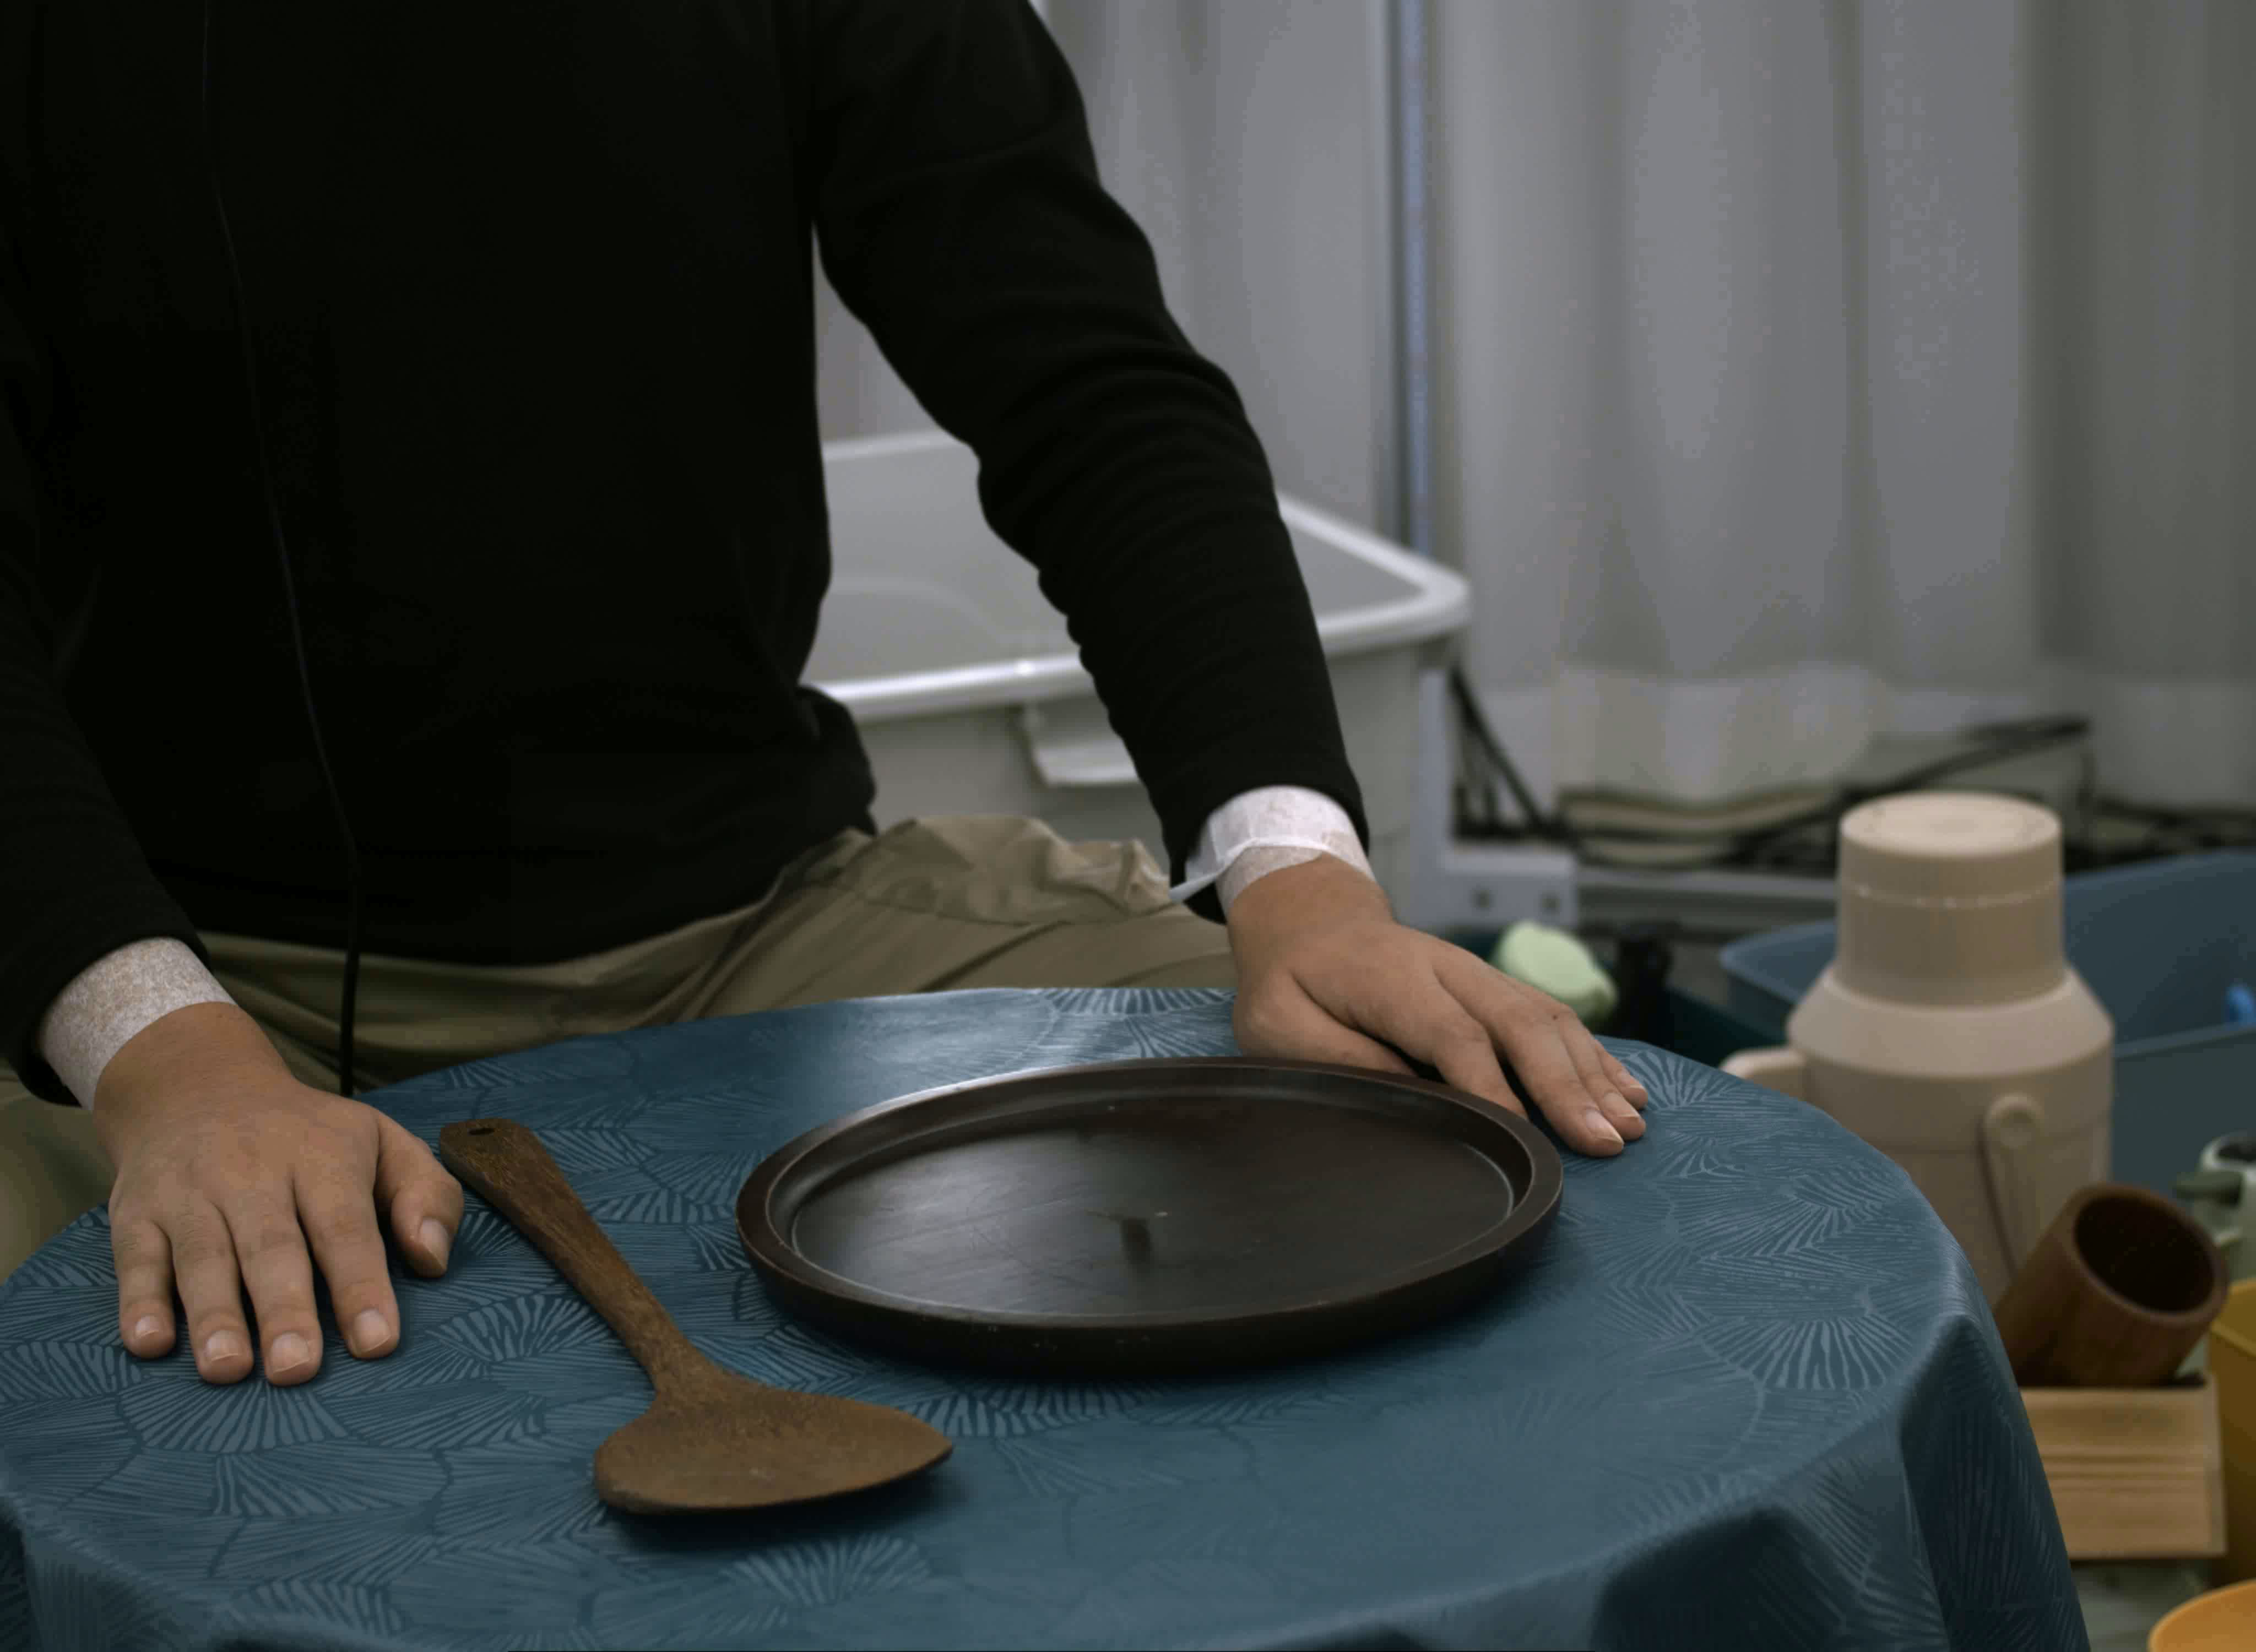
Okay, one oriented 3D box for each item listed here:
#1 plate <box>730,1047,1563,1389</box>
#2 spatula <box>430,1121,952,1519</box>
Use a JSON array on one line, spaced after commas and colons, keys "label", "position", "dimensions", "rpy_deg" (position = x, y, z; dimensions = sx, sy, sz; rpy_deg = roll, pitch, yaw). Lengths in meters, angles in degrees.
[{"label": "plate", "position": [0.006, 0.118, 1.658], "dimensions": [0.254, 0.029, 0.256], "rpy_deg": [-2, 16, 0]}, {"label": "spatula", "position": [-0.152, 0.140, 1.621], "dimensions": [0.095, 0.016, 0.389], "rpy_deg": [-7, 15, -19]}]
